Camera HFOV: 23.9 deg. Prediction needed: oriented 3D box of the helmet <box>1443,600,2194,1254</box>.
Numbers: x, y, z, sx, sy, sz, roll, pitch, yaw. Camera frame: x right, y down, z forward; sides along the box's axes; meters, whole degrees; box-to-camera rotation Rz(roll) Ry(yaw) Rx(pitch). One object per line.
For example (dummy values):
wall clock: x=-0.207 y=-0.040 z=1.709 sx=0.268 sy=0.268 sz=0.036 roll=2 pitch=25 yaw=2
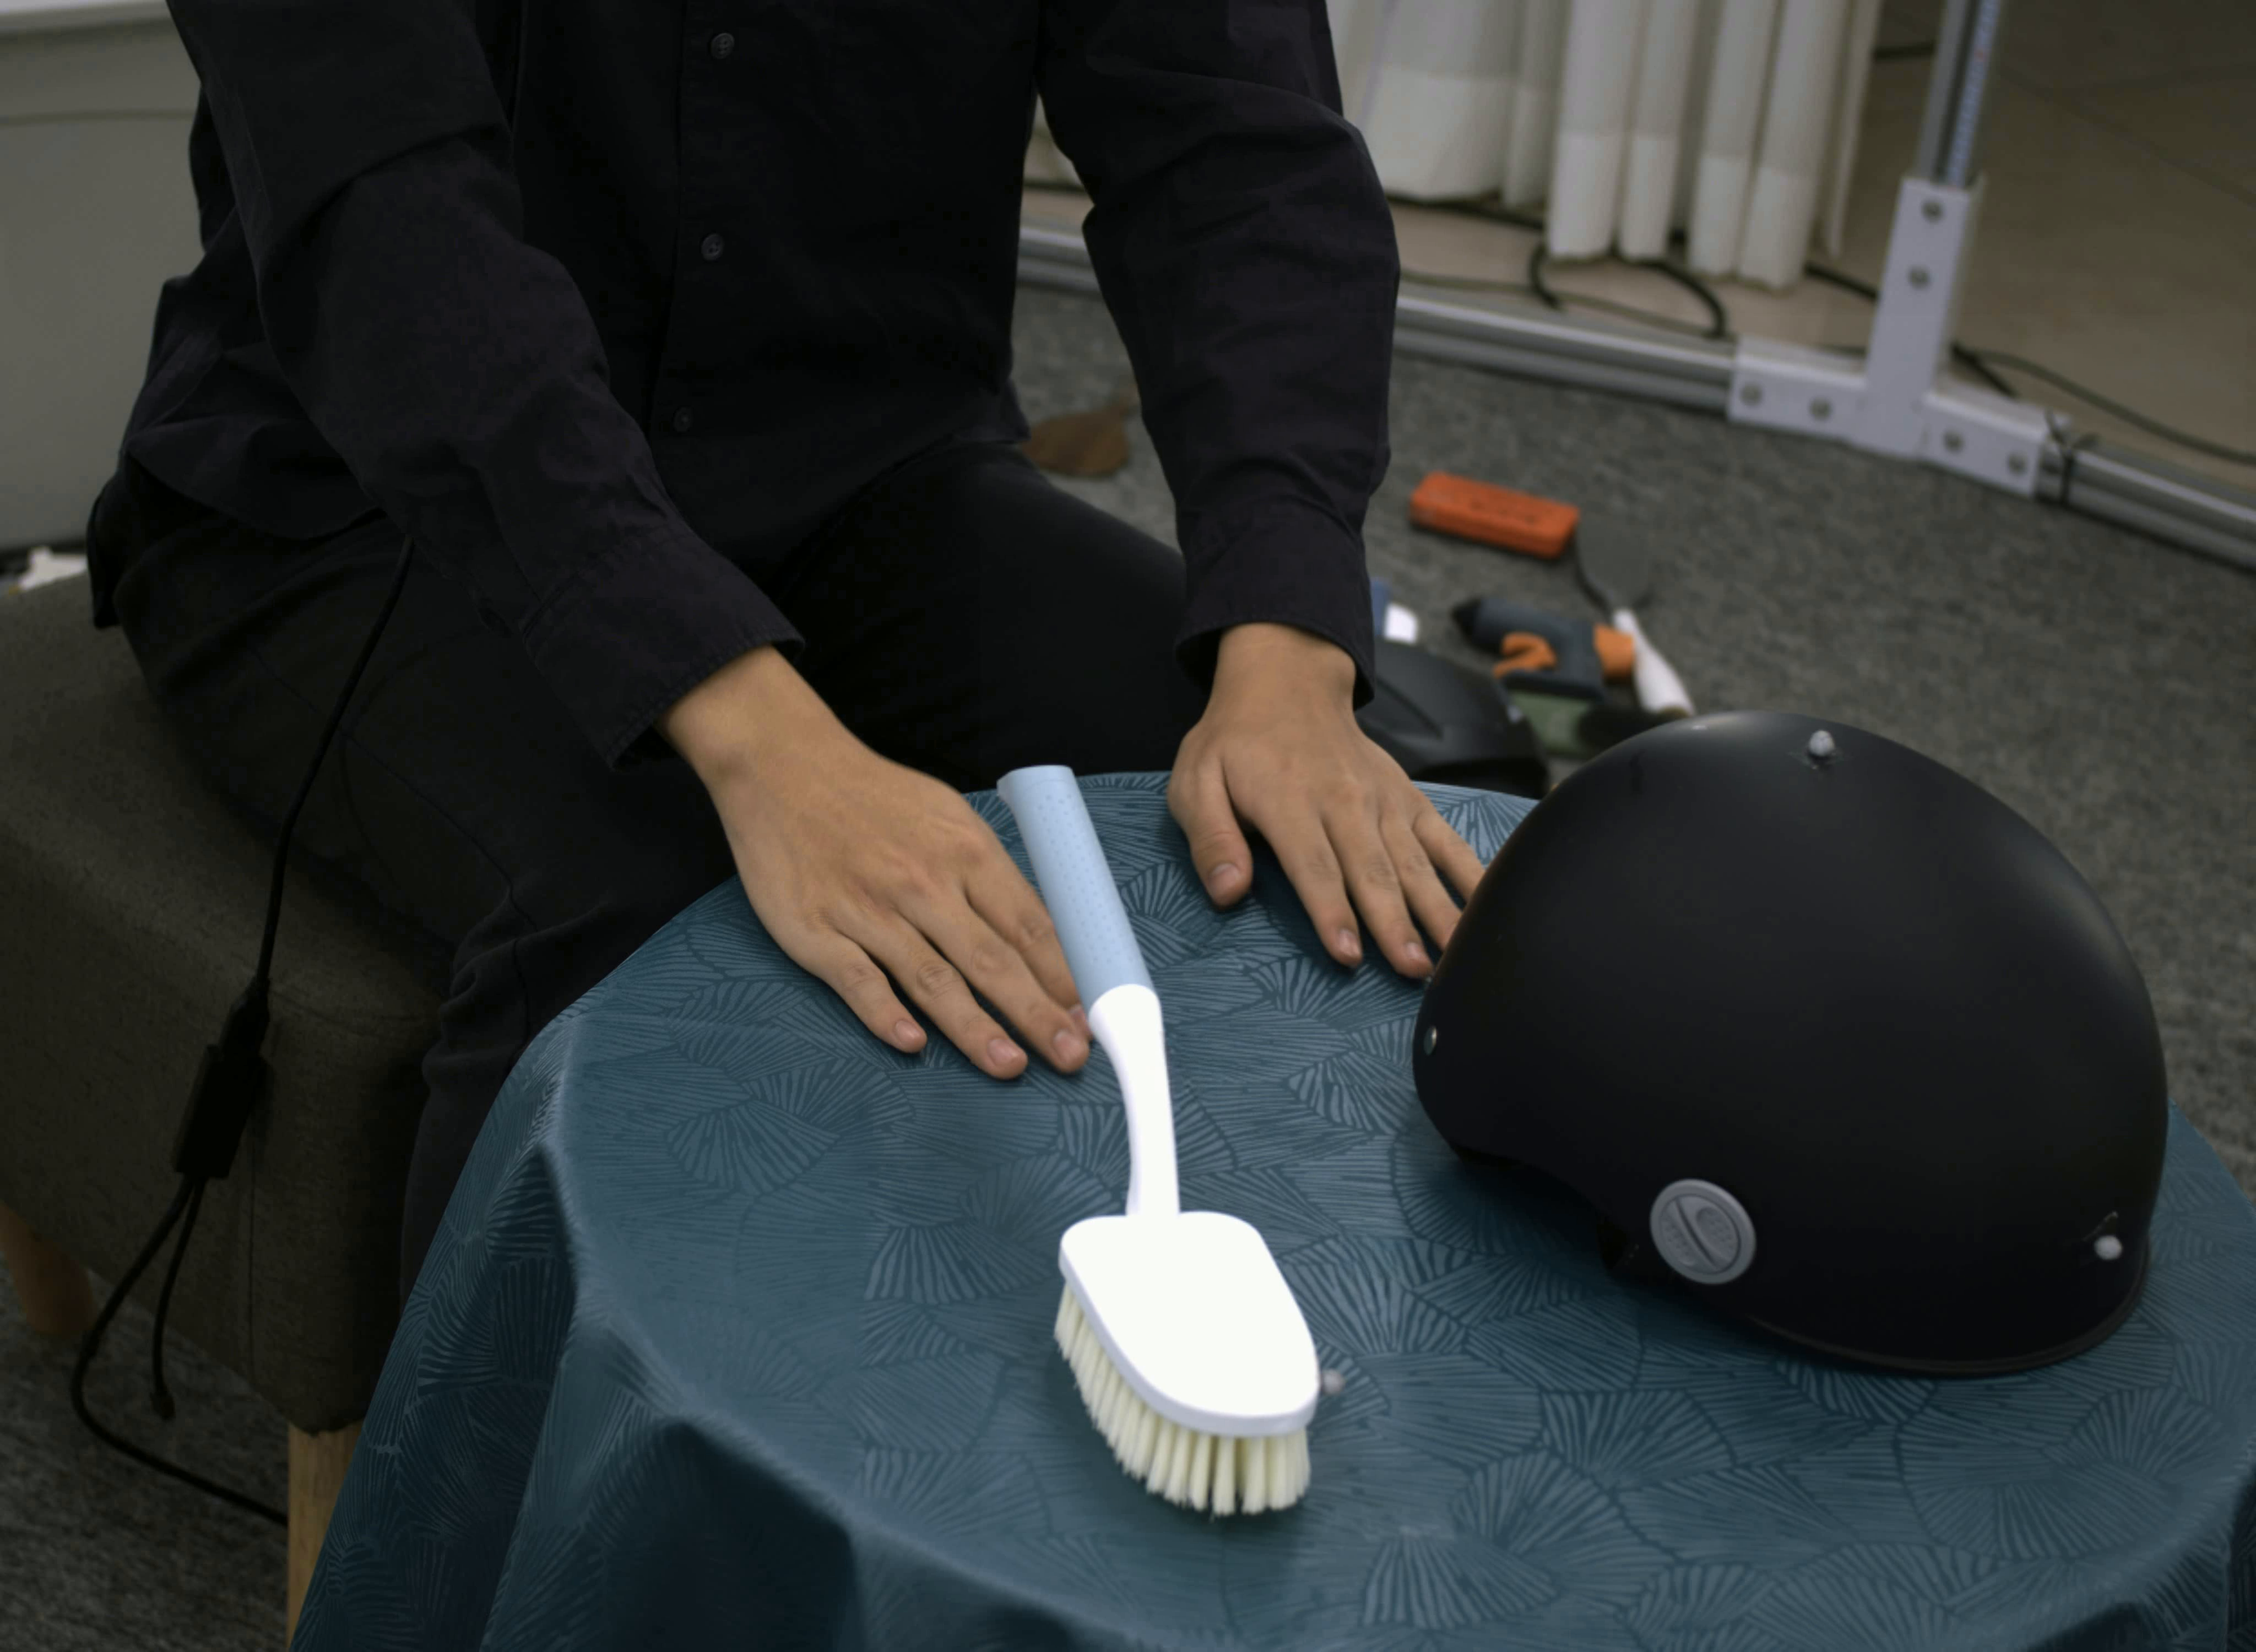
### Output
helmet: x=0.248 y=0.017 z=1.838 sx=0.275 sy=0.166 sz=0.229 roll=31 pitch=37 yaw=35

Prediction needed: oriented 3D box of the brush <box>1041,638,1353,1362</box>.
brush: x=0.016 y=0.065 z=1.773 sx=0.082 sy=0.084 sz=0.328 roll=33 pitch=24 yaw=-36
